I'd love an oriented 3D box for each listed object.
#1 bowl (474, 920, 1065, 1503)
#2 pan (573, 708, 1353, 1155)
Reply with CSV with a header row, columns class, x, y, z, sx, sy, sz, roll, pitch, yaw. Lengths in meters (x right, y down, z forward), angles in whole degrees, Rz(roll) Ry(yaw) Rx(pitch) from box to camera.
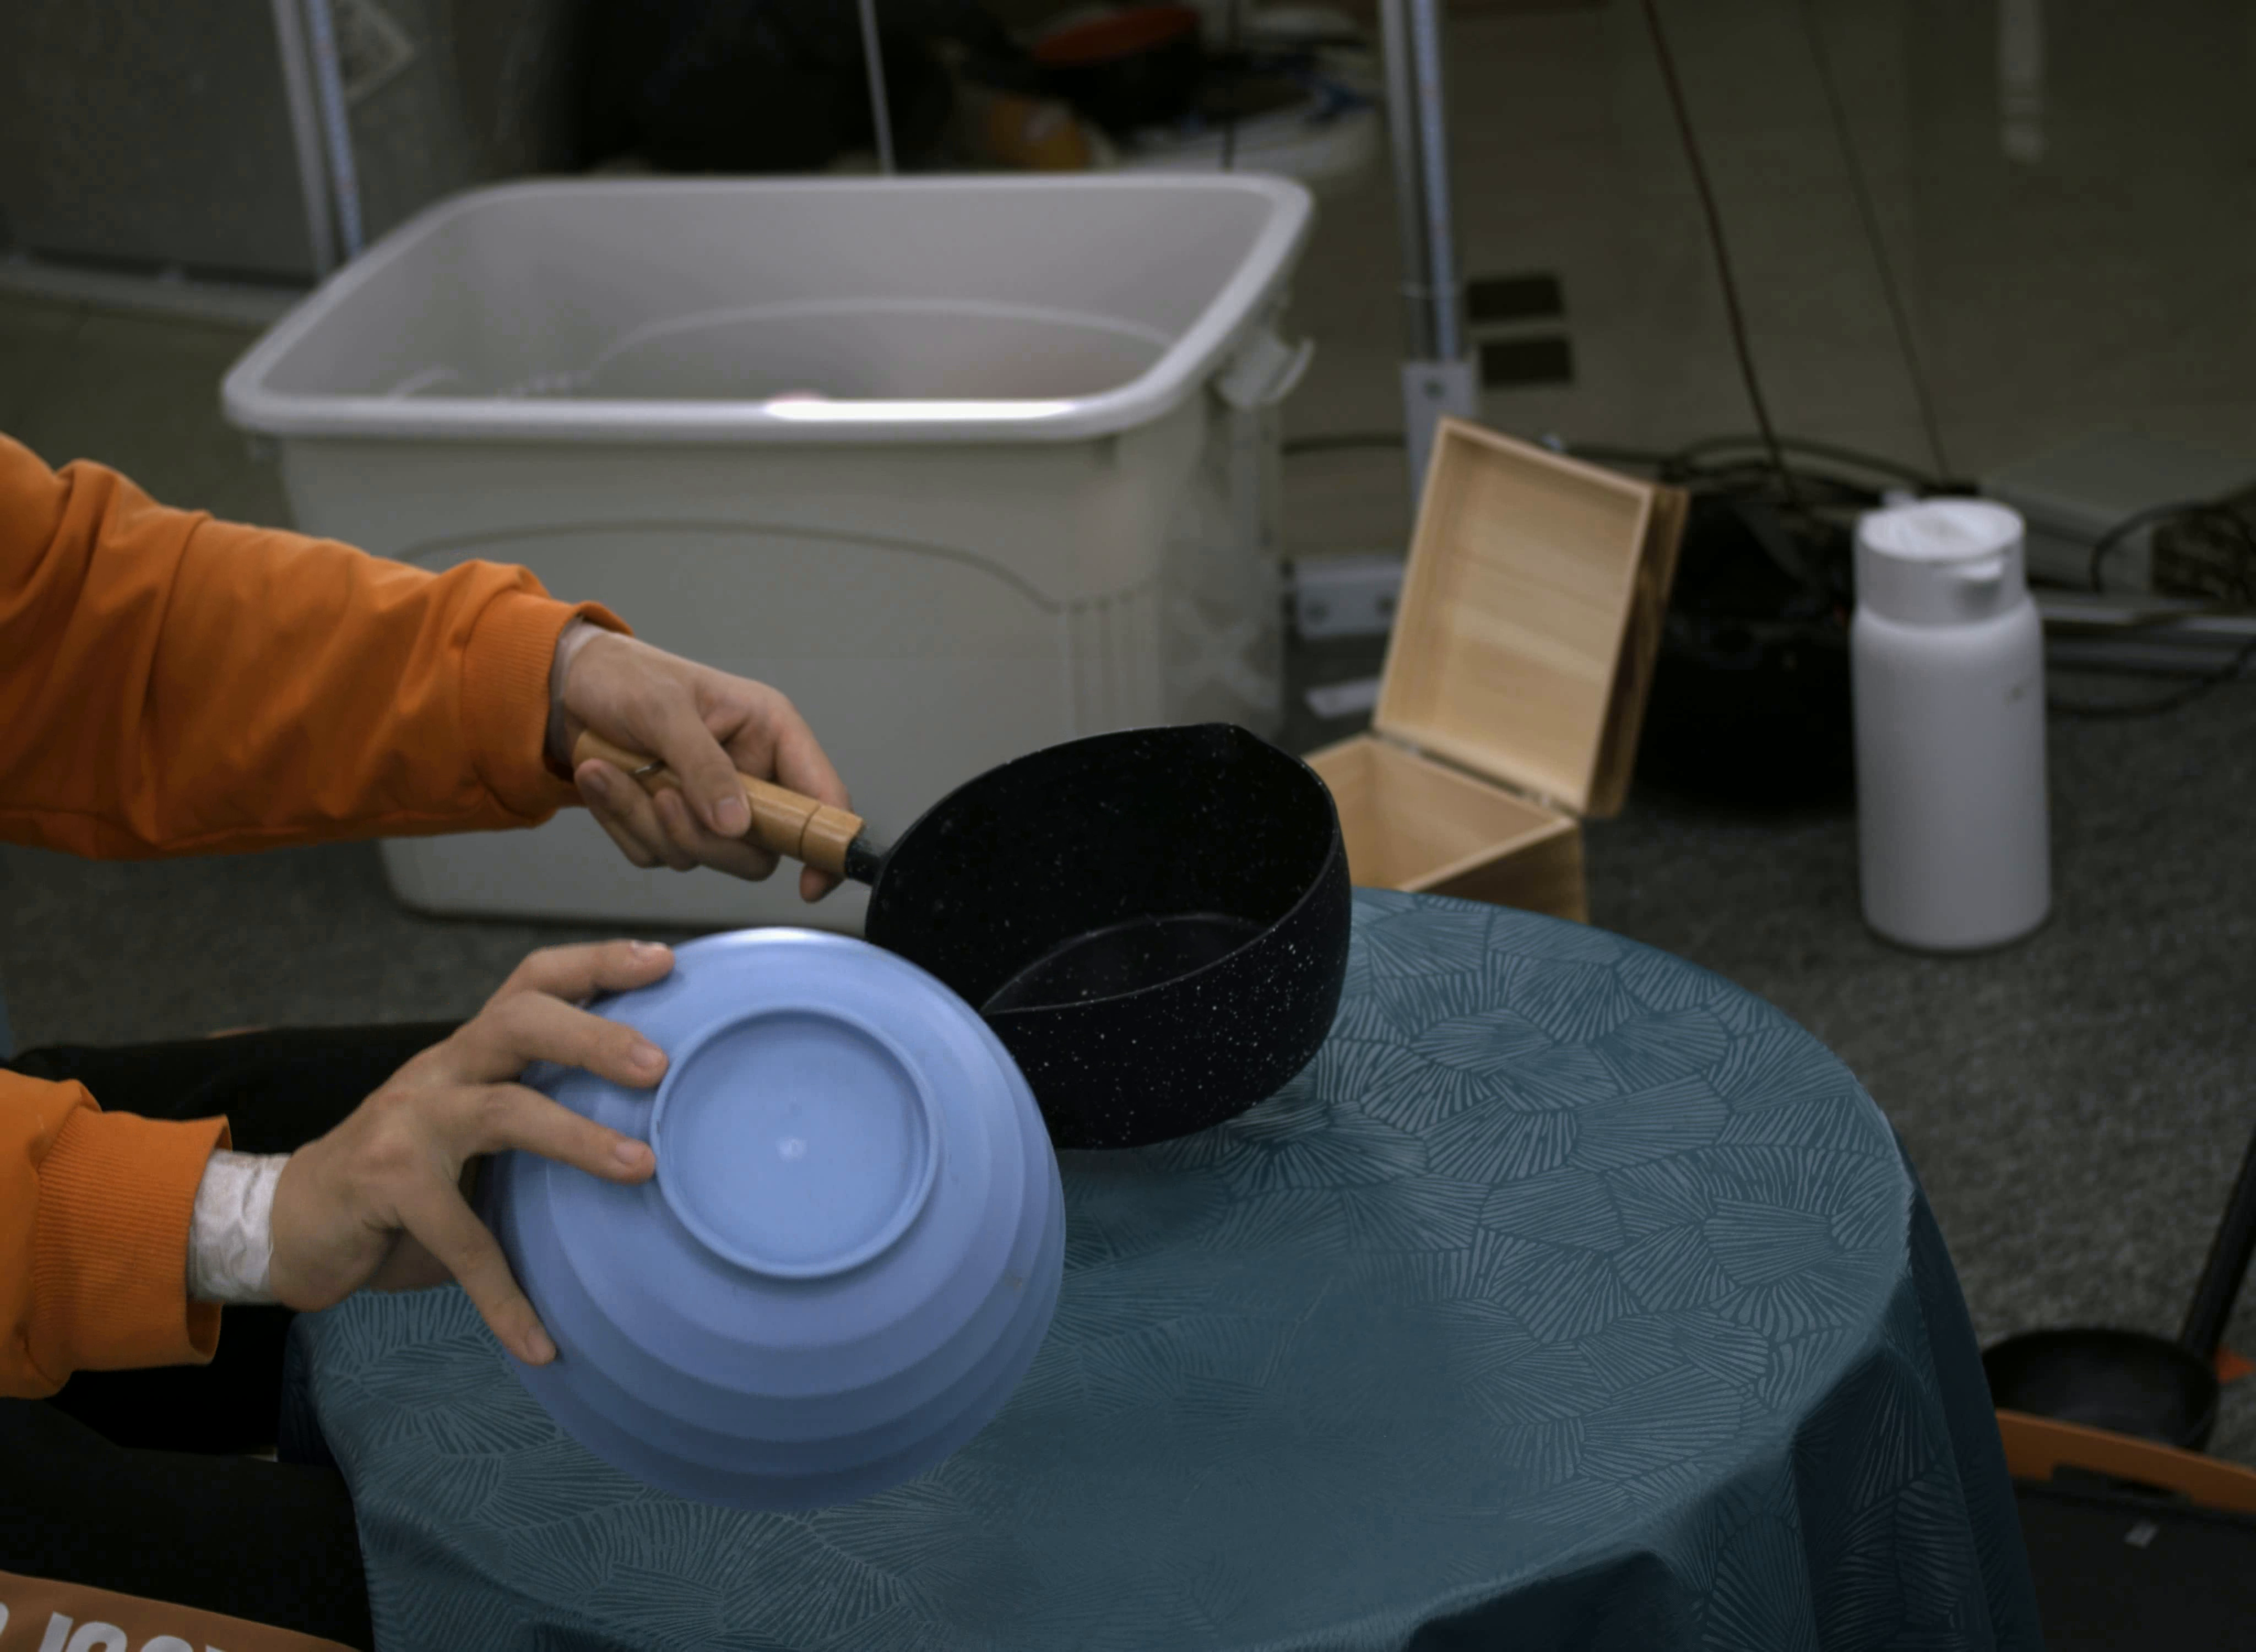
class,x,y,z,sx,sy,sz,roll,pitch,yaw
bowl,-0.112,0.113,1.836,0.196,0.195,0.096,-12,-16,-12
pan,-0.070,0.027,2.219,0.341,0.110,0.204,10,42,30
